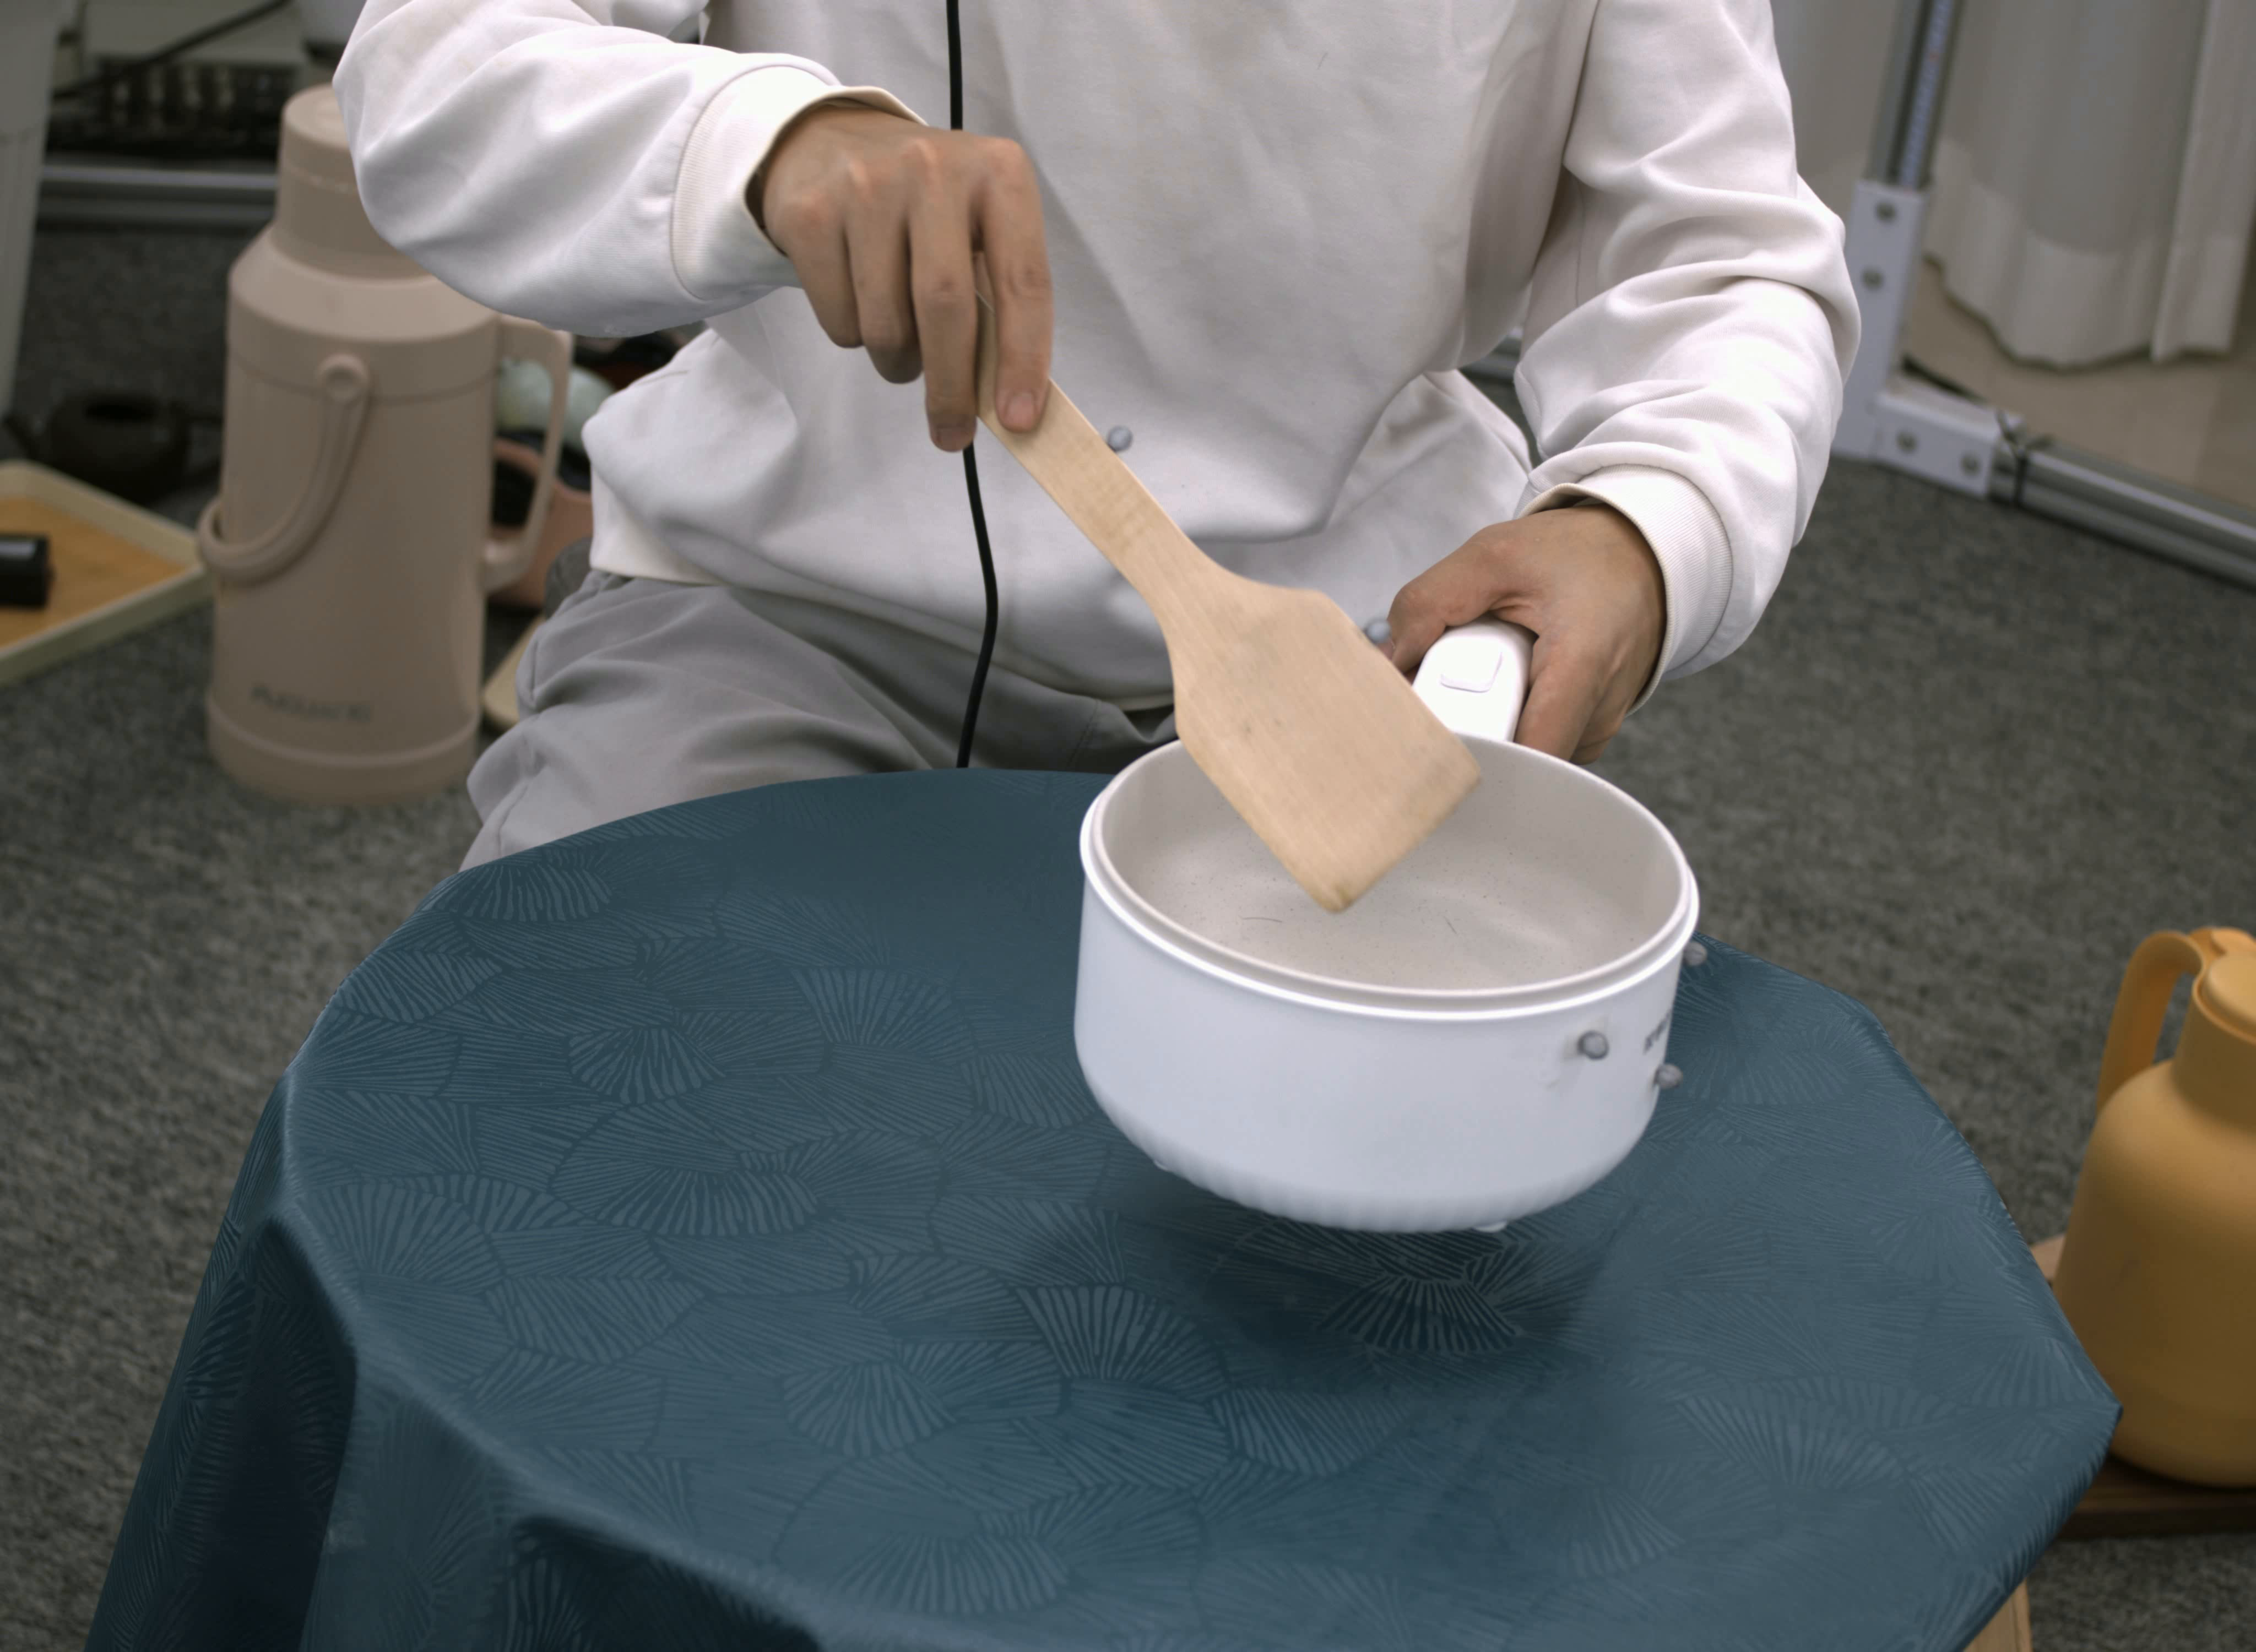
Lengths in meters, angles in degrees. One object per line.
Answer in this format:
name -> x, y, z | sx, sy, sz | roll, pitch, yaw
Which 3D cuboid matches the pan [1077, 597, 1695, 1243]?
pan -> 0.098, 0.028, 1.813 | 0.201, 0.102, 0.355 | 7, 24, 11
